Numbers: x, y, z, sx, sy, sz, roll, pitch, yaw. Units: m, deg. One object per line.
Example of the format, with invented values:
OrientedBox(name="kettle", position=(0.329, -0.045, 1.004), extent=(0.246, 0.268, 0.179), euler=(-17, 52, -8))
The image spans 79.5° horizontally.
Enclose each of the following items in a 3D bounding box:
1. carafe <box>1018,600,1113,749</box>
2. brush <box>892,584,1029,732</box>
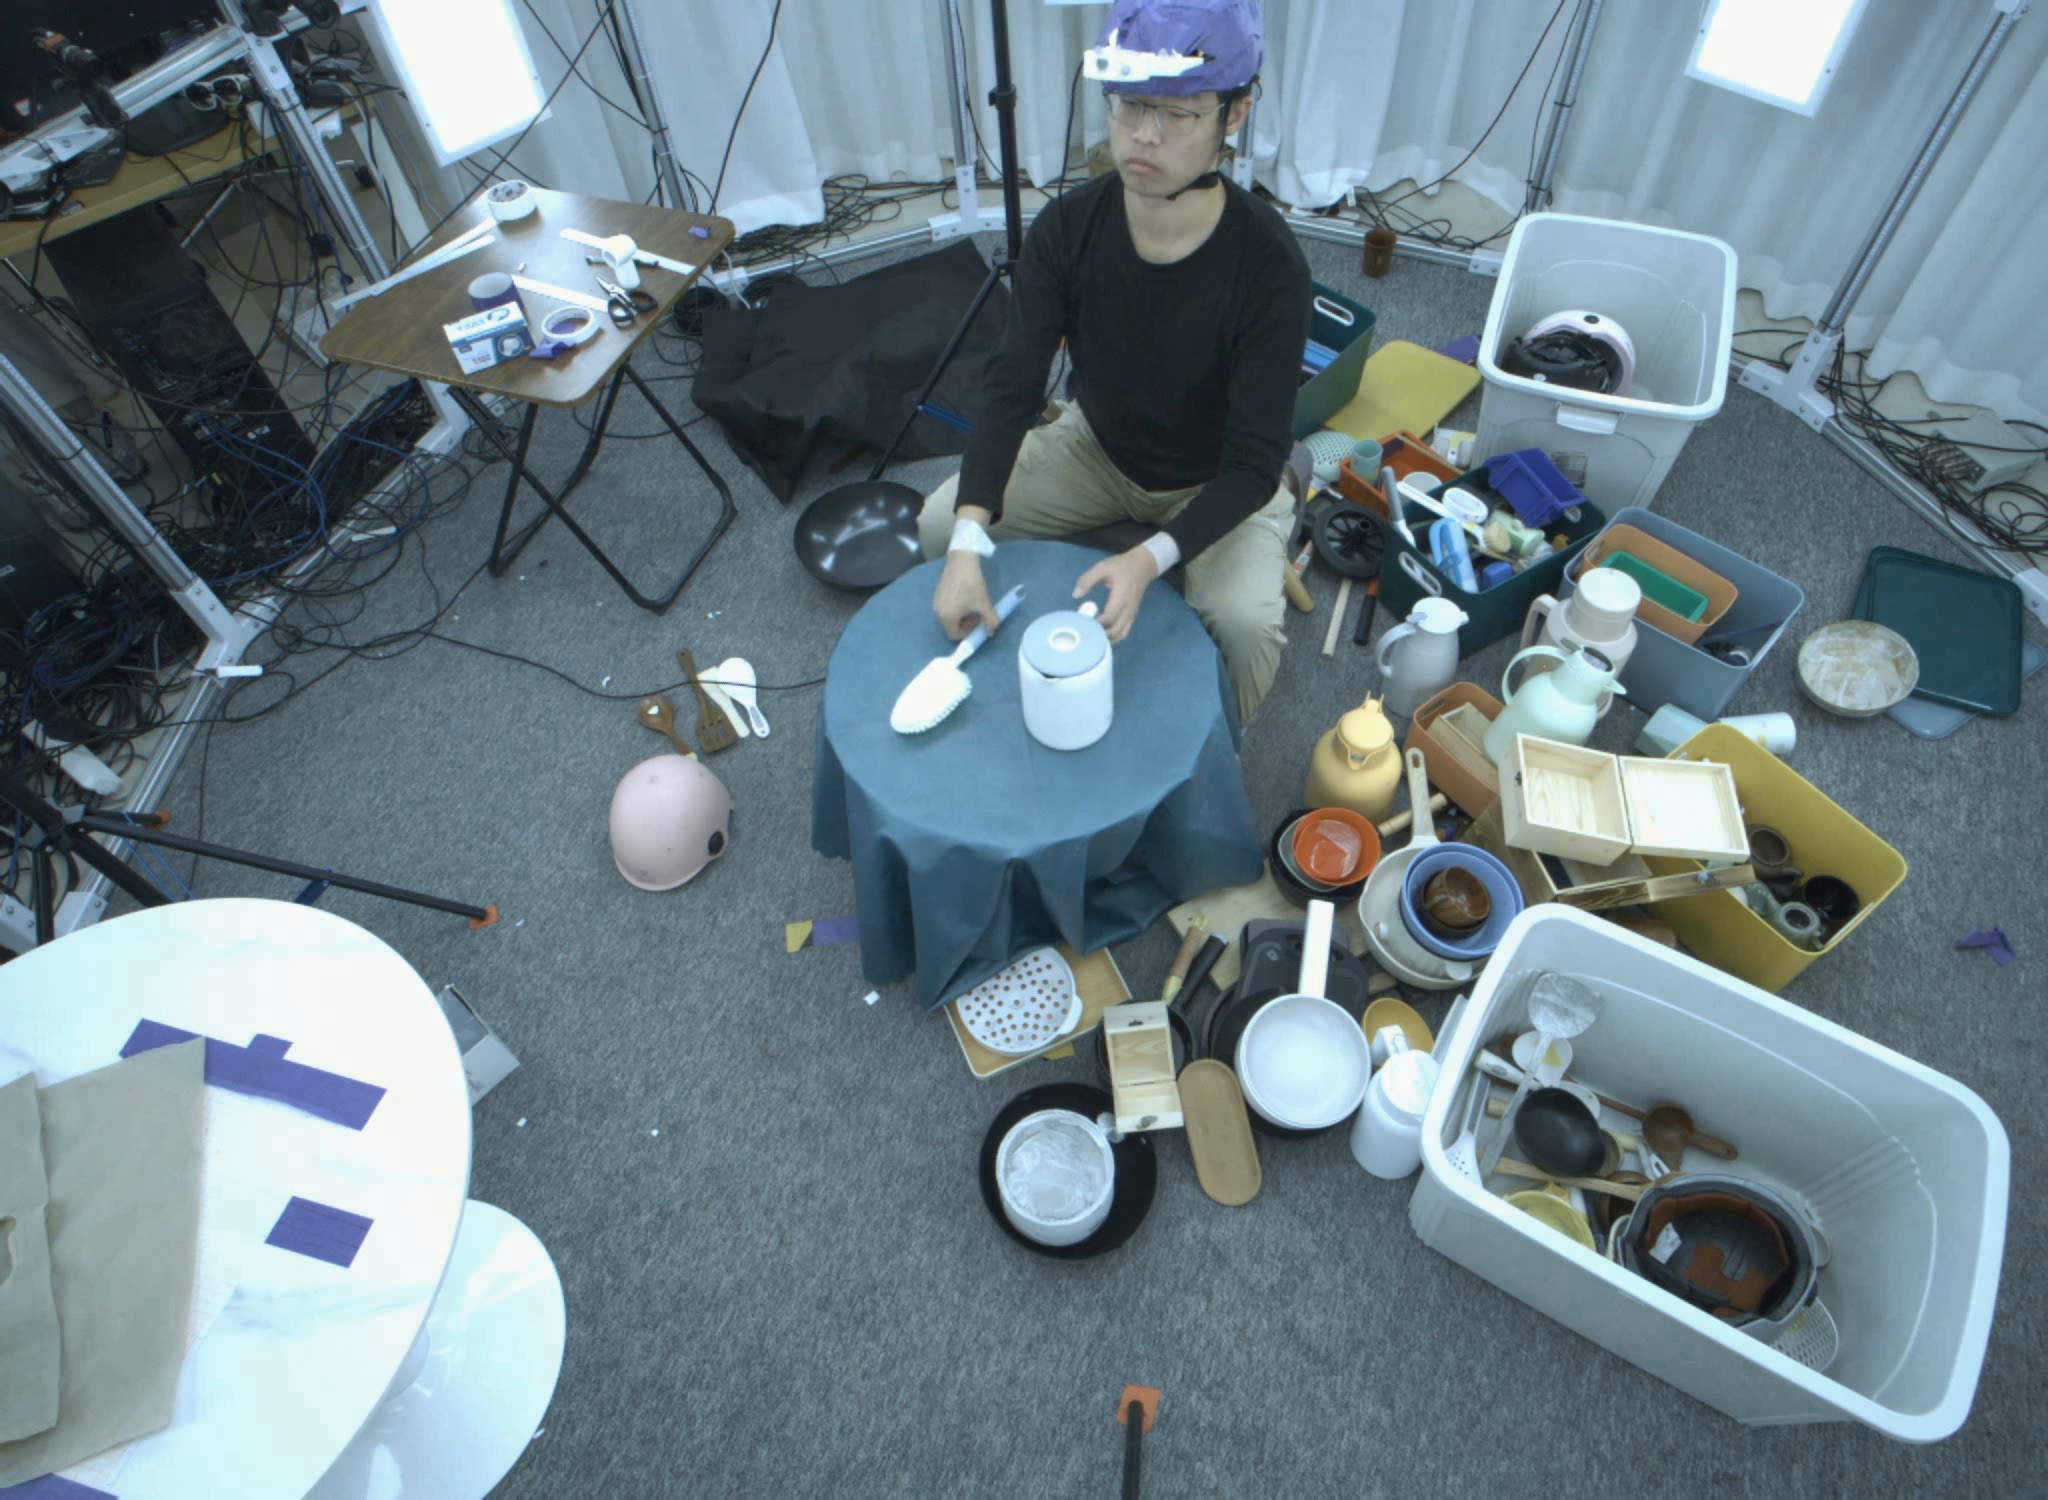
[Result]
OrientedBox(name="carafe", position=(0.069, -0.118, 1.763), extent=(0.131, 0.184, 0.191), euler=(15, 56, 13))
OrientedBox(name="brush", position=(-0.081, -0.149, 1.842), extent=(0.083, 0.084, 0.327), euler=(28, 62, 27))
